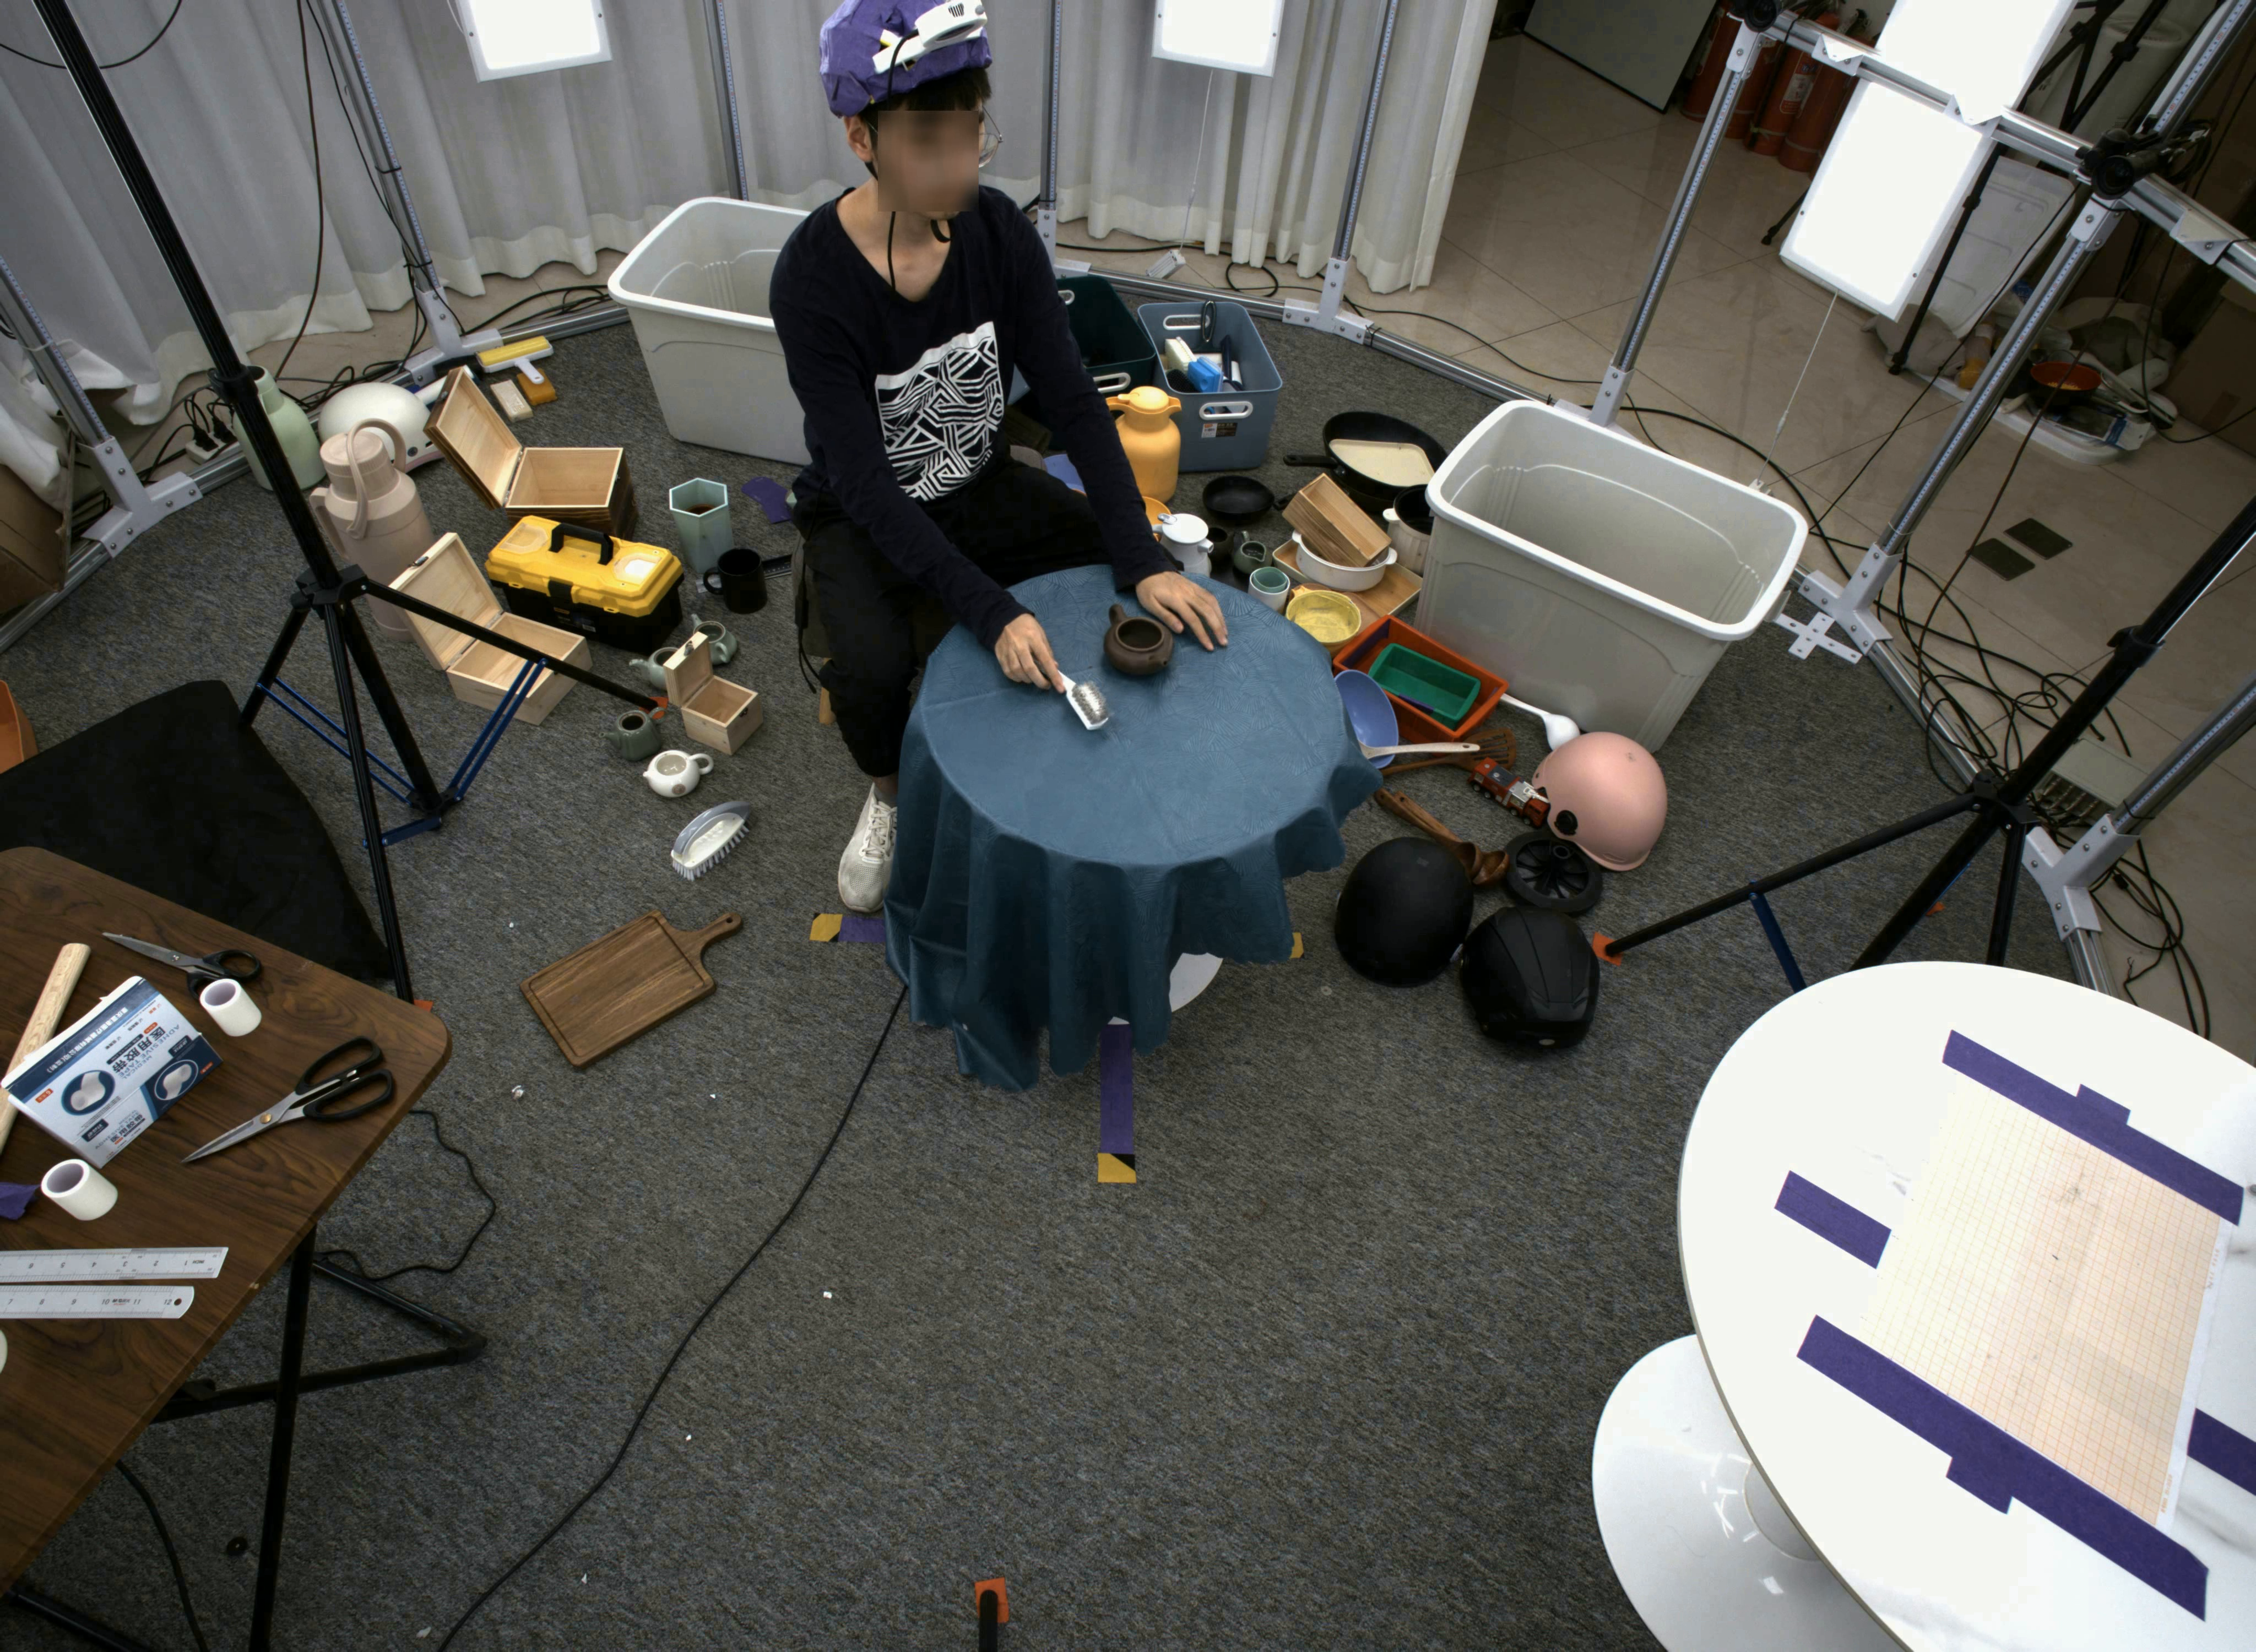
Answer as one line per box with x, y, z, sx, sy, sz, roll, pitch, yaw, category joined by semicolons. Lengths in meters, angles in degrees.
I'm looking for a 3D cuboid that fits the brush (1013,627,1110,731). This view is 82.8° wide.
-0.099;-0.223;1.825;0.034;0.049;0.249;-24;54;-20;brush

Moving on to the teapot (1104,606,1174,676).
0.014;-0.264;1.864;0.103;0.052;0.156;-26;55;-24;teapot
